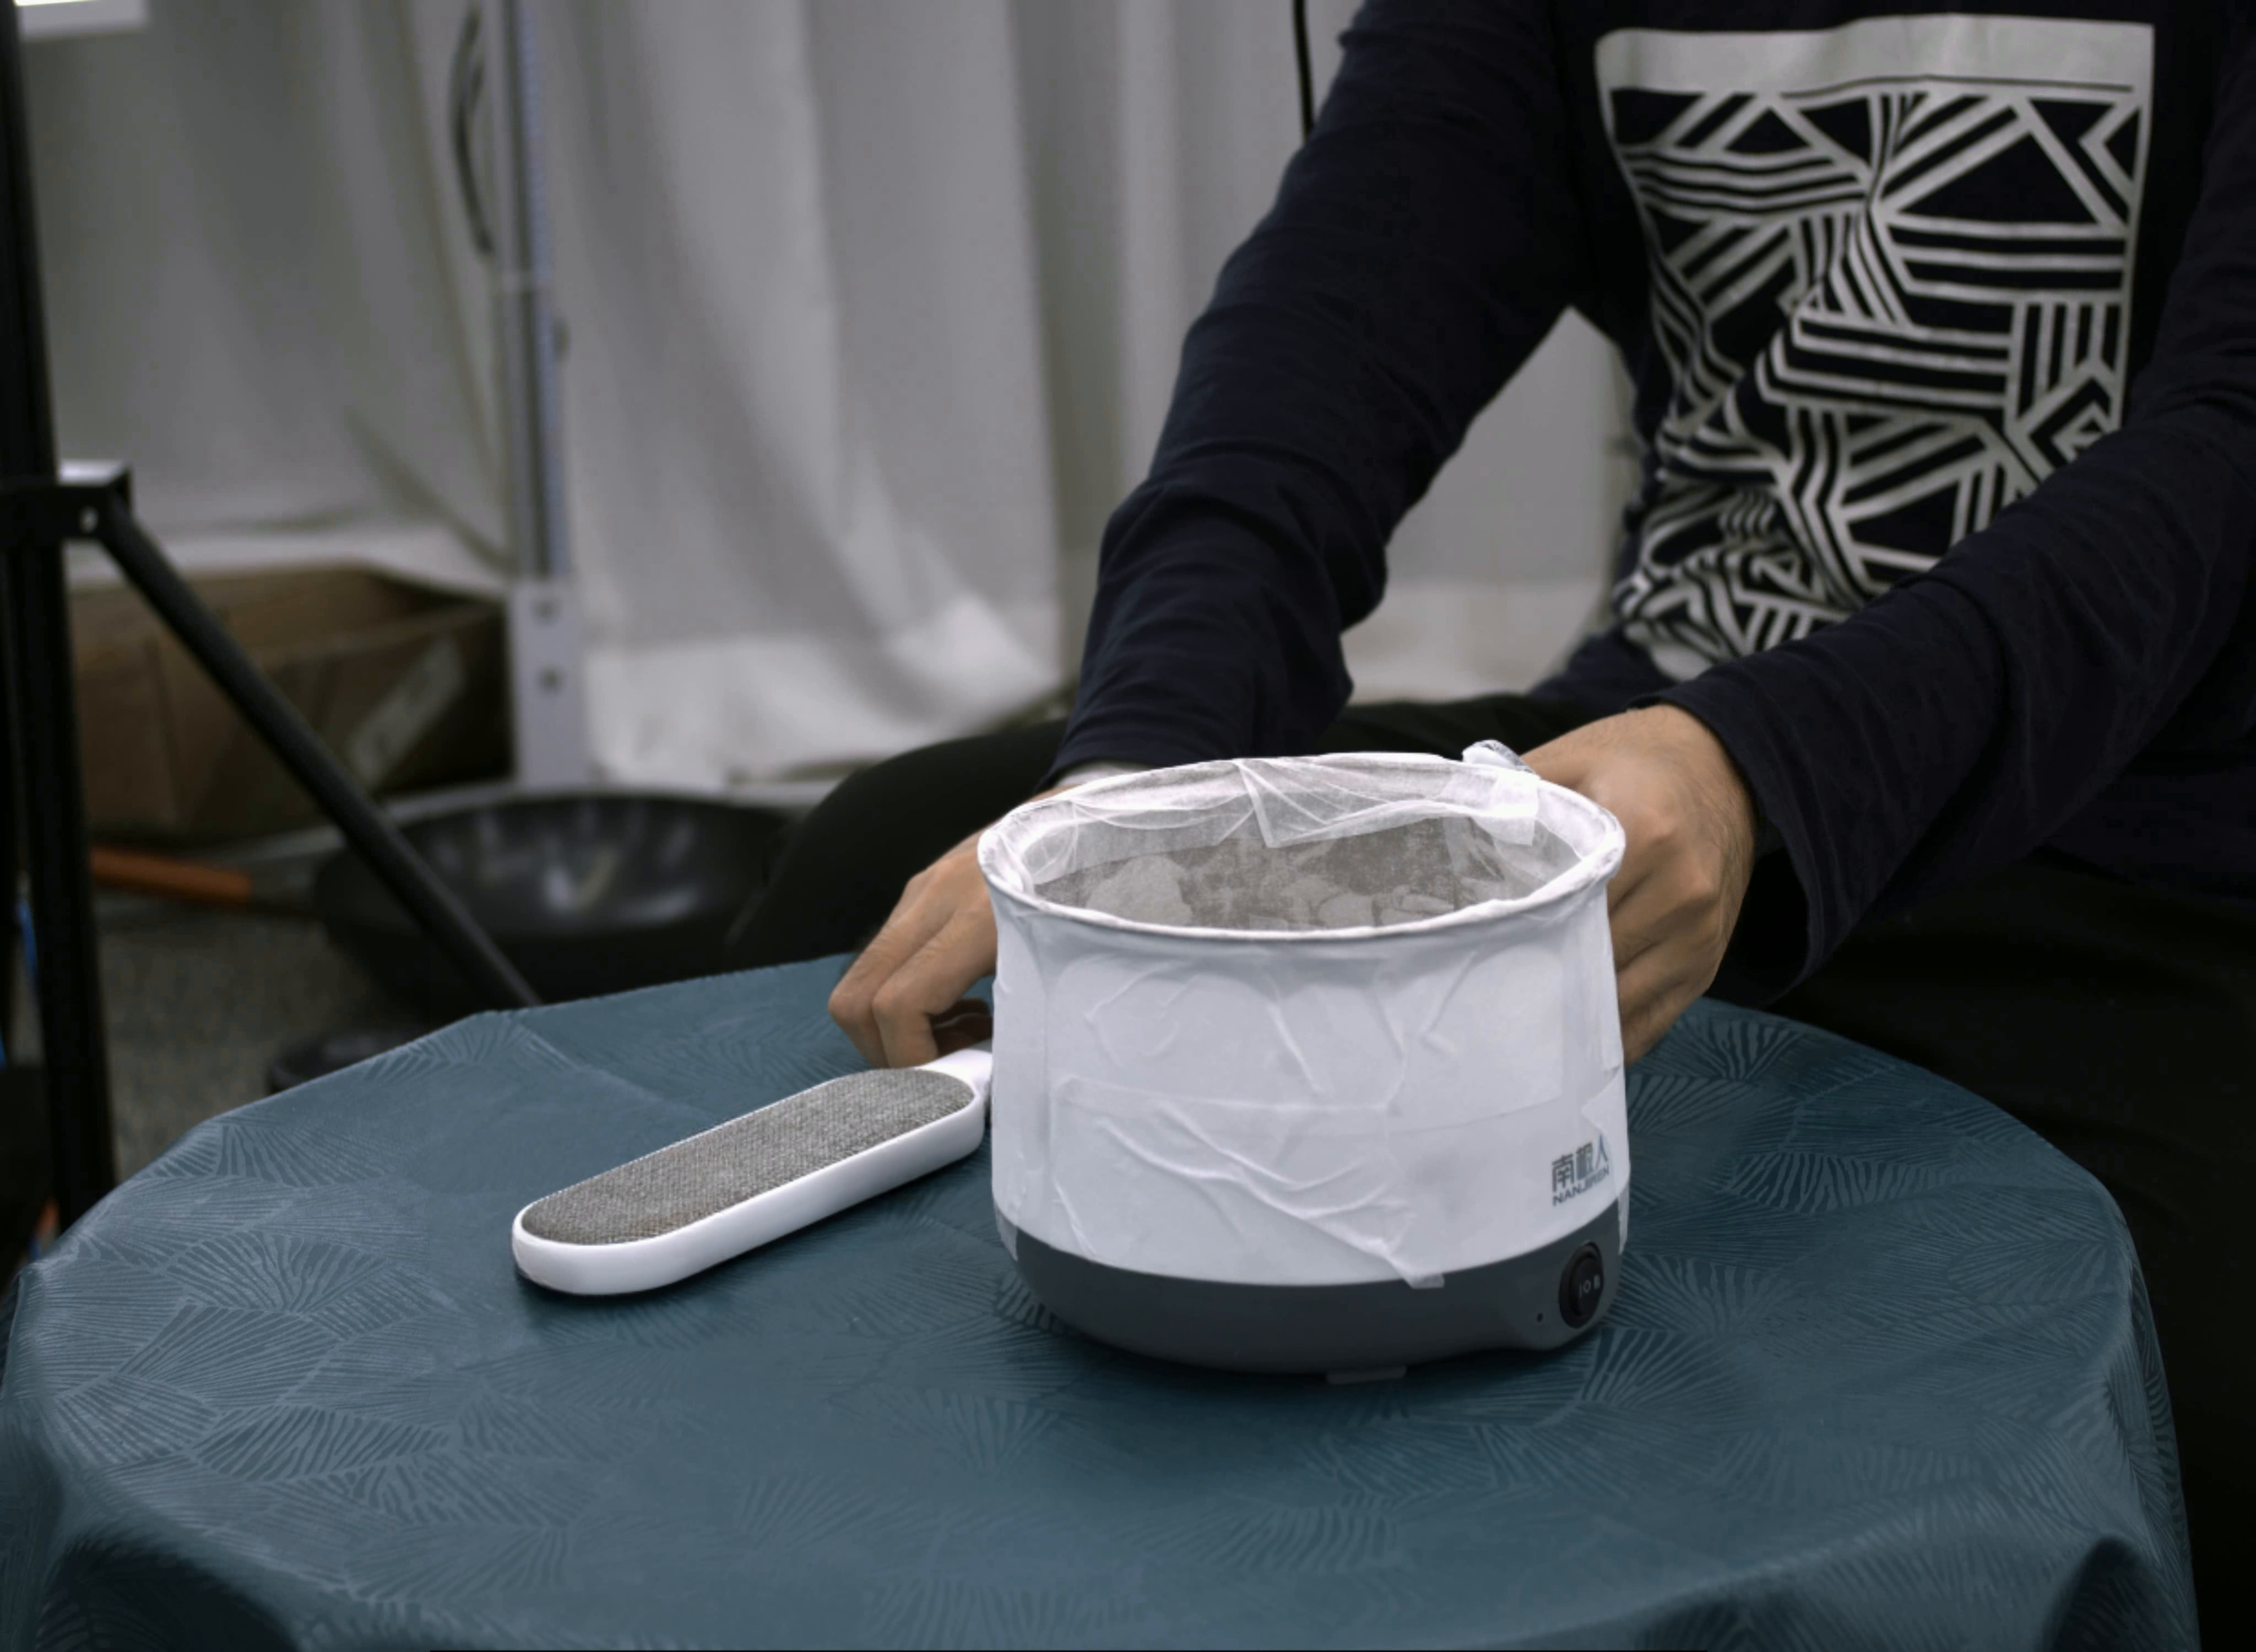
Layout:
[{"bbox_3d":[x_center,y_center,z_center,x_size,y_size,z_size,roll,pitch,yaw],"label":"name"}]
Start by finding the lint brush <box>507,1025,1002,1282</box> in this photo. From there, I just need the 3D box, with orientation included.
[{"bbox_3d":[-0.070,0.086,1.602,0.061,0.021,0.302,3,15,39],"label":"lint brush"}]

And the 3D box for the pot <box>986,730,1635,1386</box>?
[{"bbox_3d":[0.065,0.056,1.477,0.182,0.136,0.229,11,21,33],"label":"pot"}]
